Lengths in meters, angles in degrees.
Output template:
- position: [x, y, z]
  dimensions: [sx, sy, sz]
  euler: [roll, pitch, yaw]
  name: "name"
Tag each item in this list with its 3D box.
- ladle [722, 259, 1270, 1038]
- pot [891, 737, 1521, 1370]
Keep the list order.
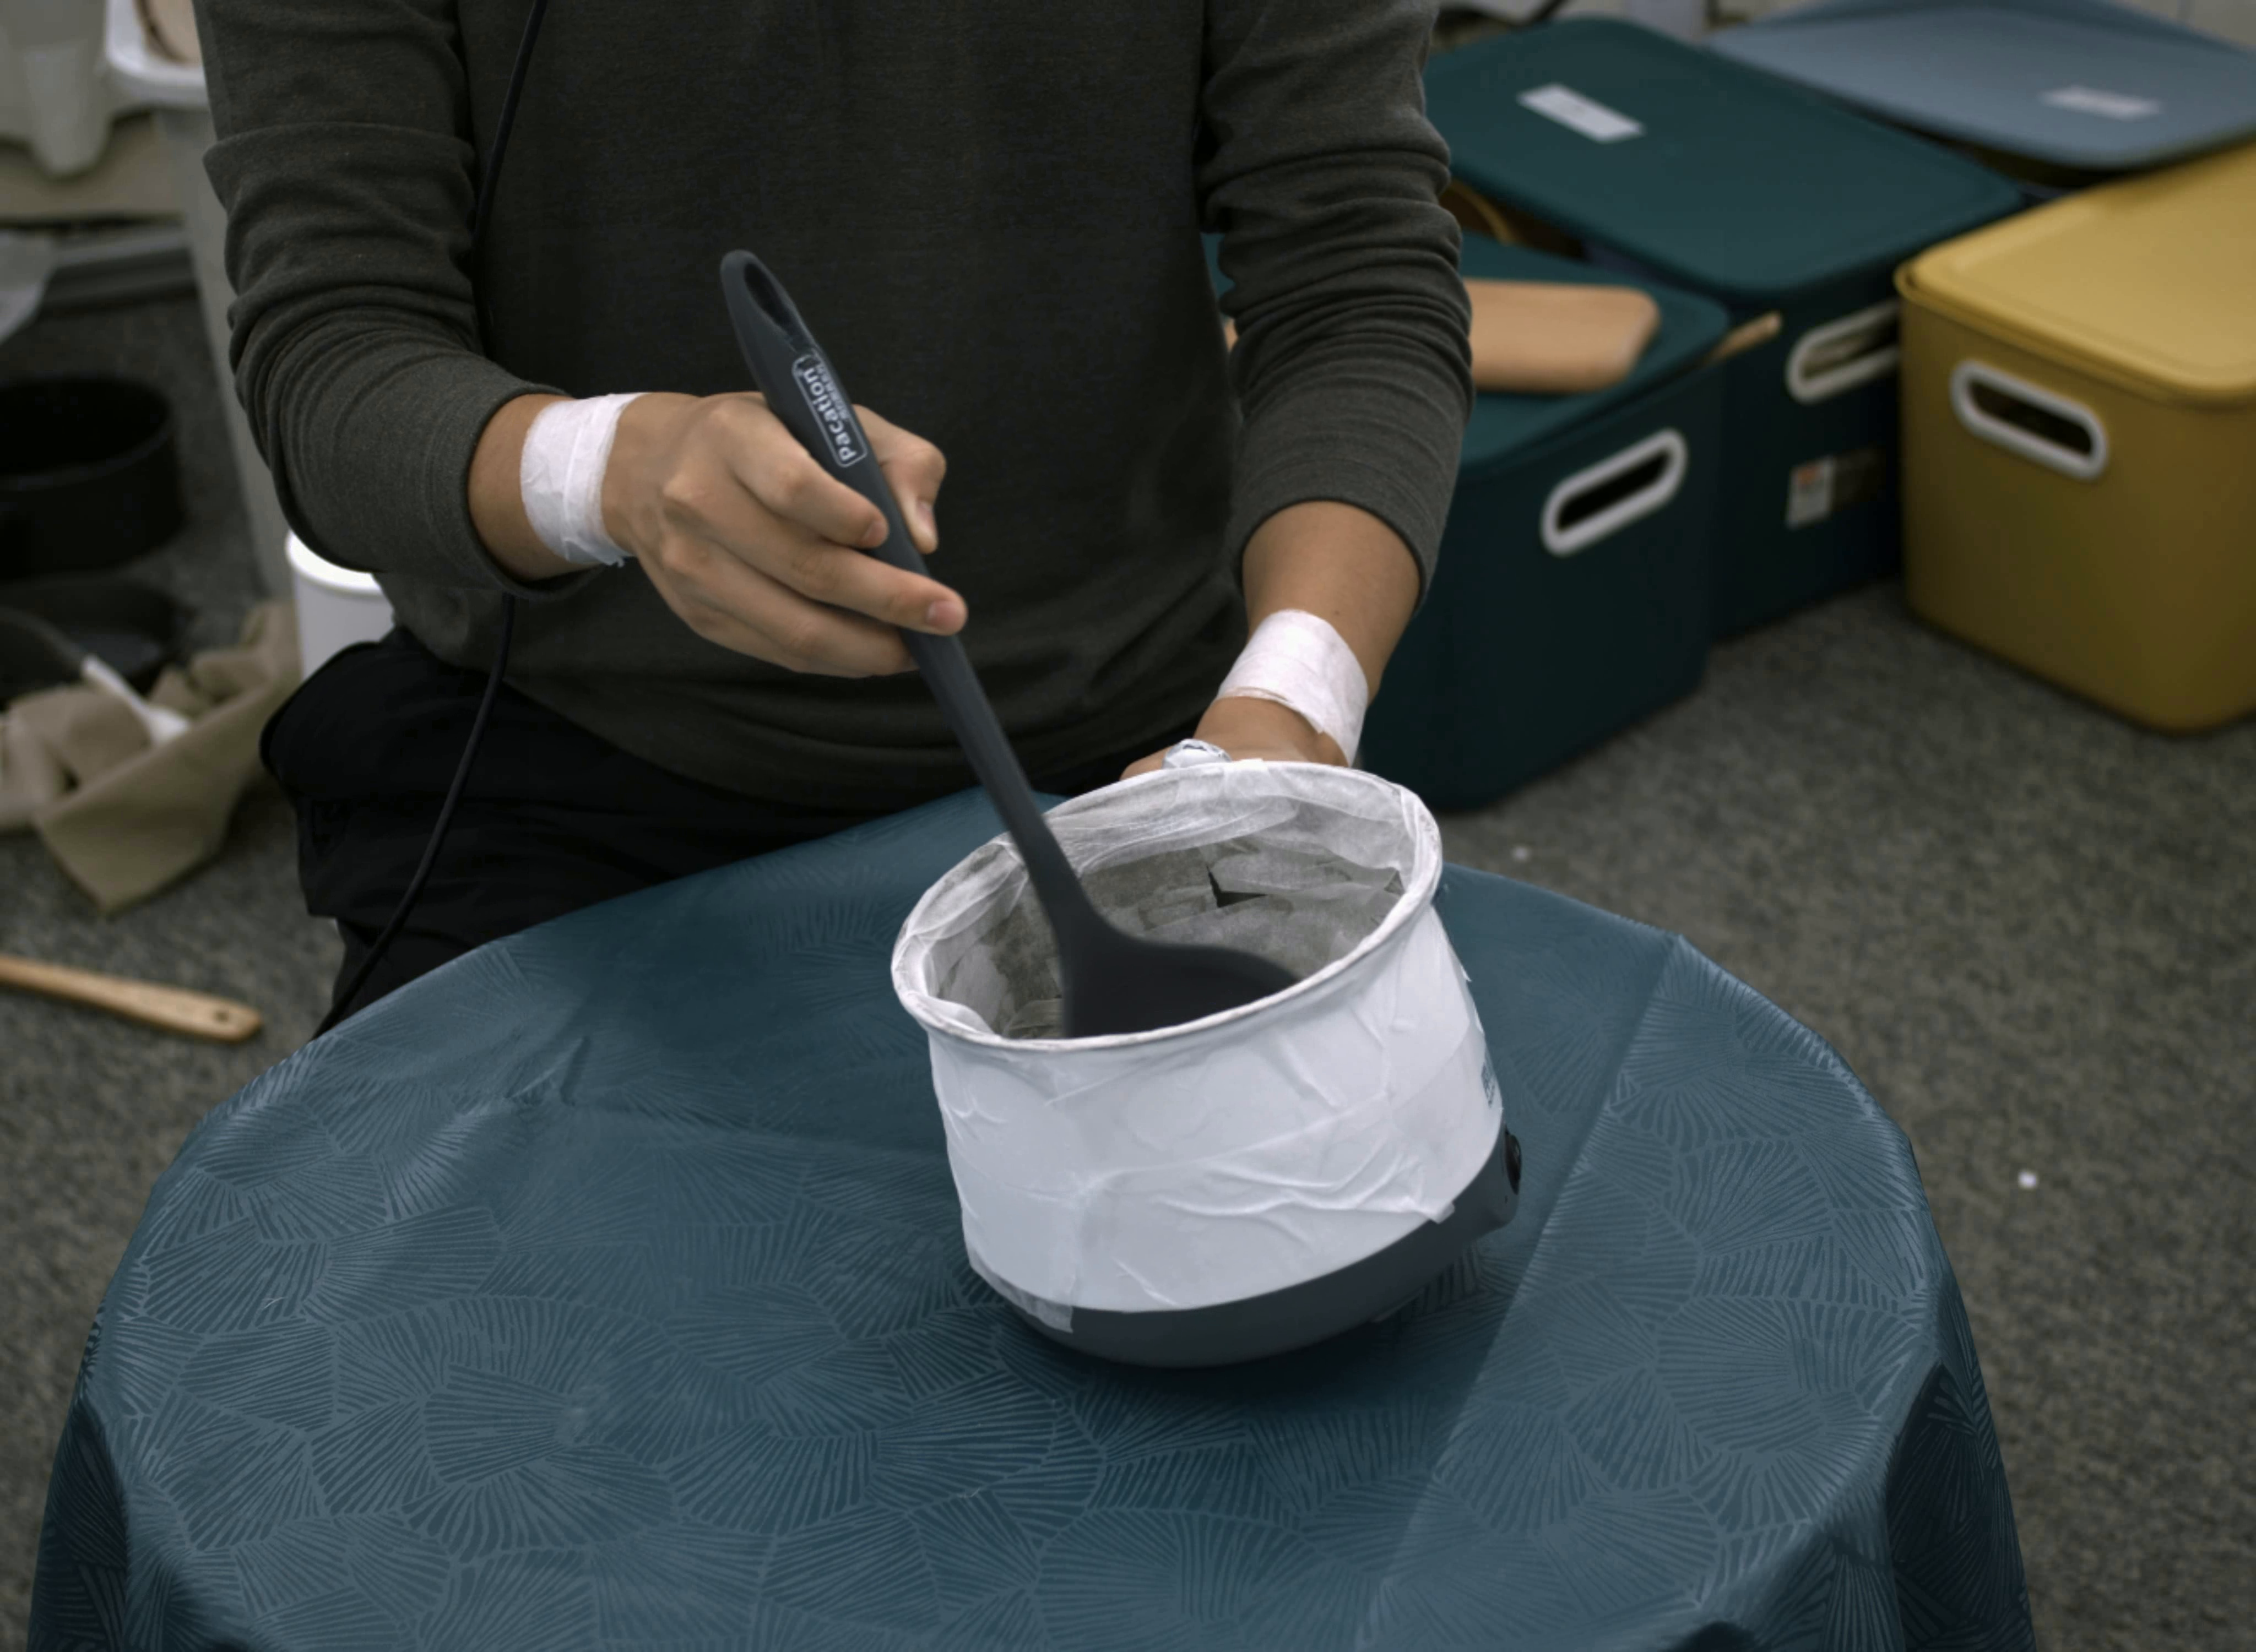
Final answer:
- position: [-0.041, -0.042, 1.775]
  dimensions: [0.087, 0.314, 0.063]
  euler: [-32, 8, -40]
  name: "ladle"
- position: [0.028, 0.065, 1.804]
  dimensions: [0.177, 0.135, 0.237]
  euler: [-10, 25, 9]
  name: "pot"
